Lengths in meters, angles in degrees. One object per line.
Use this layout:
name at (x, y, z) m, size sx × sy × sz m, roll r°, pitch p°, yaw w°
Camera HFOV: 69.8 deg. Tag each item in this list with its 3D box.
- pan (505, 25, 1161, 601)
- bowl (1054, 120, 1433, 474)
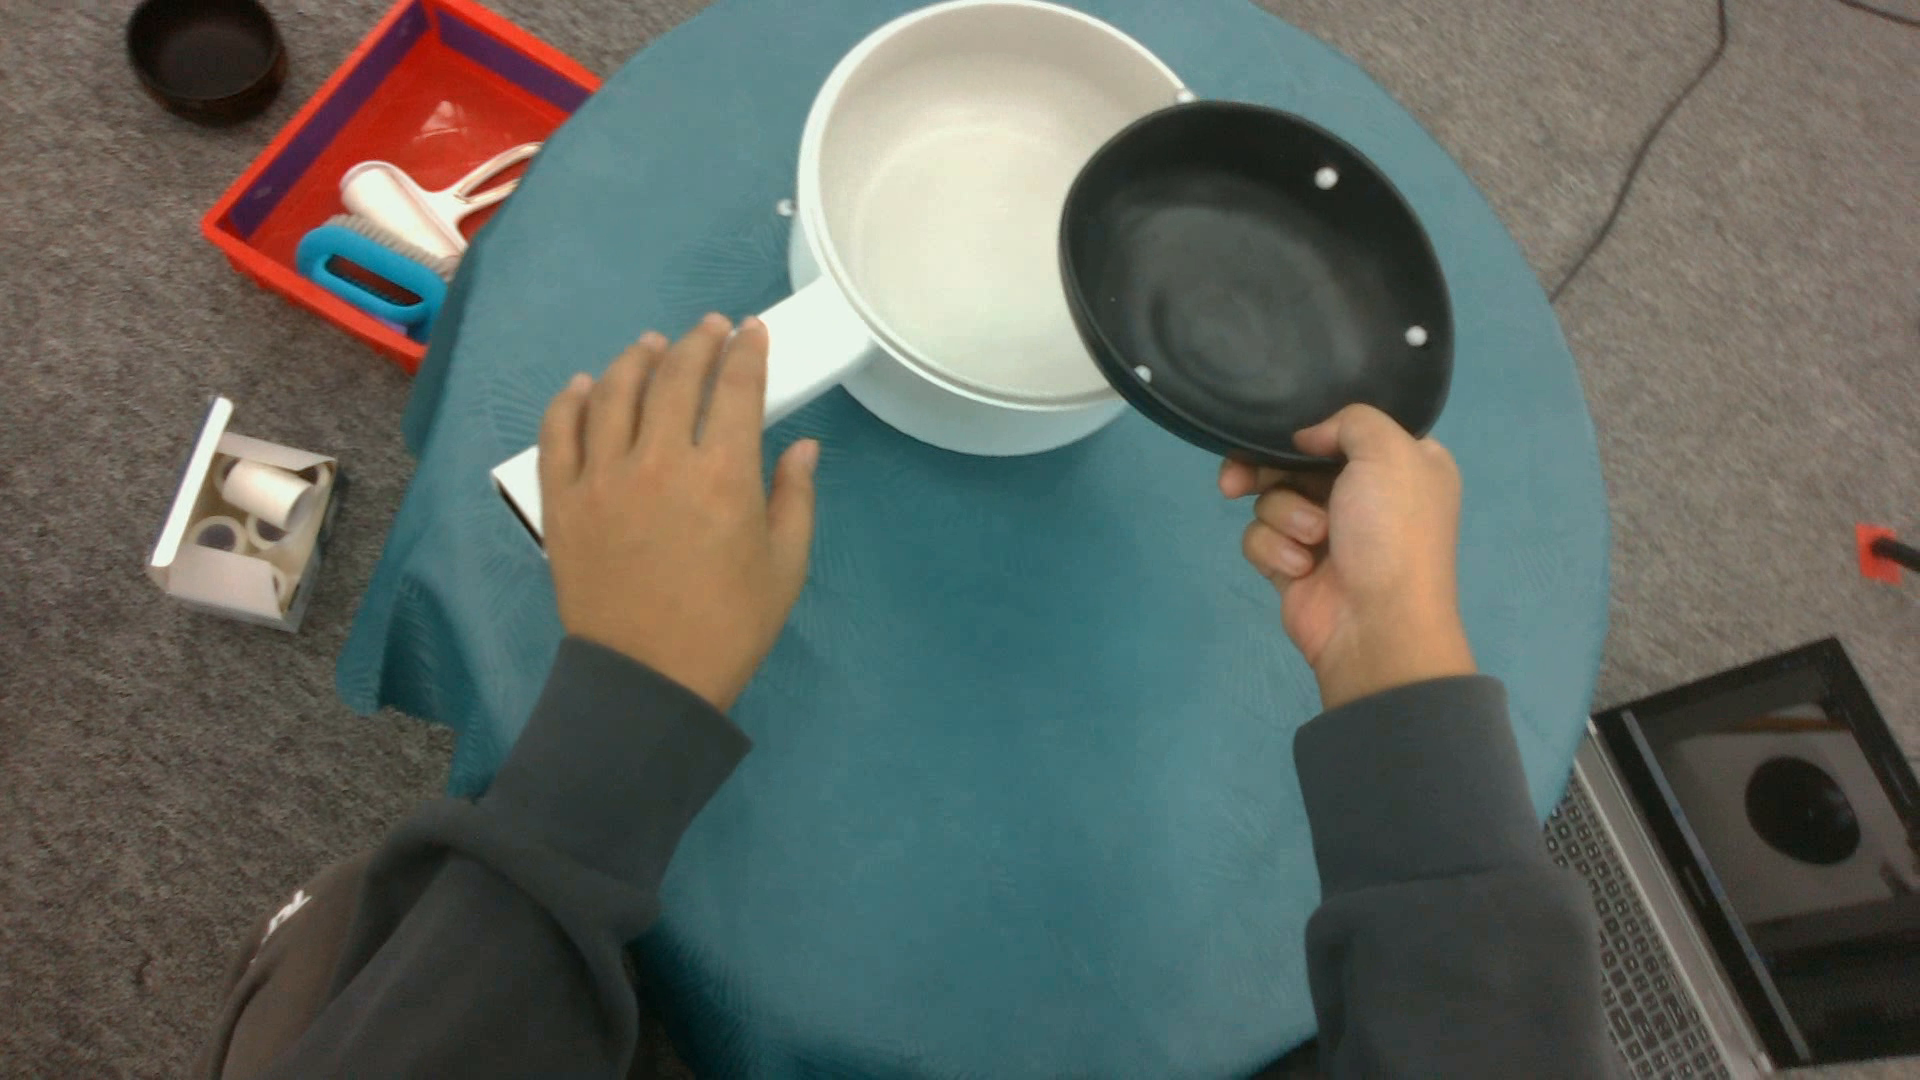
pan at (-0.049, -0.089, 0.645) m, size 0.356 × 0.102 × 0.201 m, roll -40°, pitch 88°, yaw -19°
bowl at (0.112, -0.091, 0.565) m, size 0.170 × 0.066 × 0.138 m, roll 23°, pitch 73°, yaw -9°
